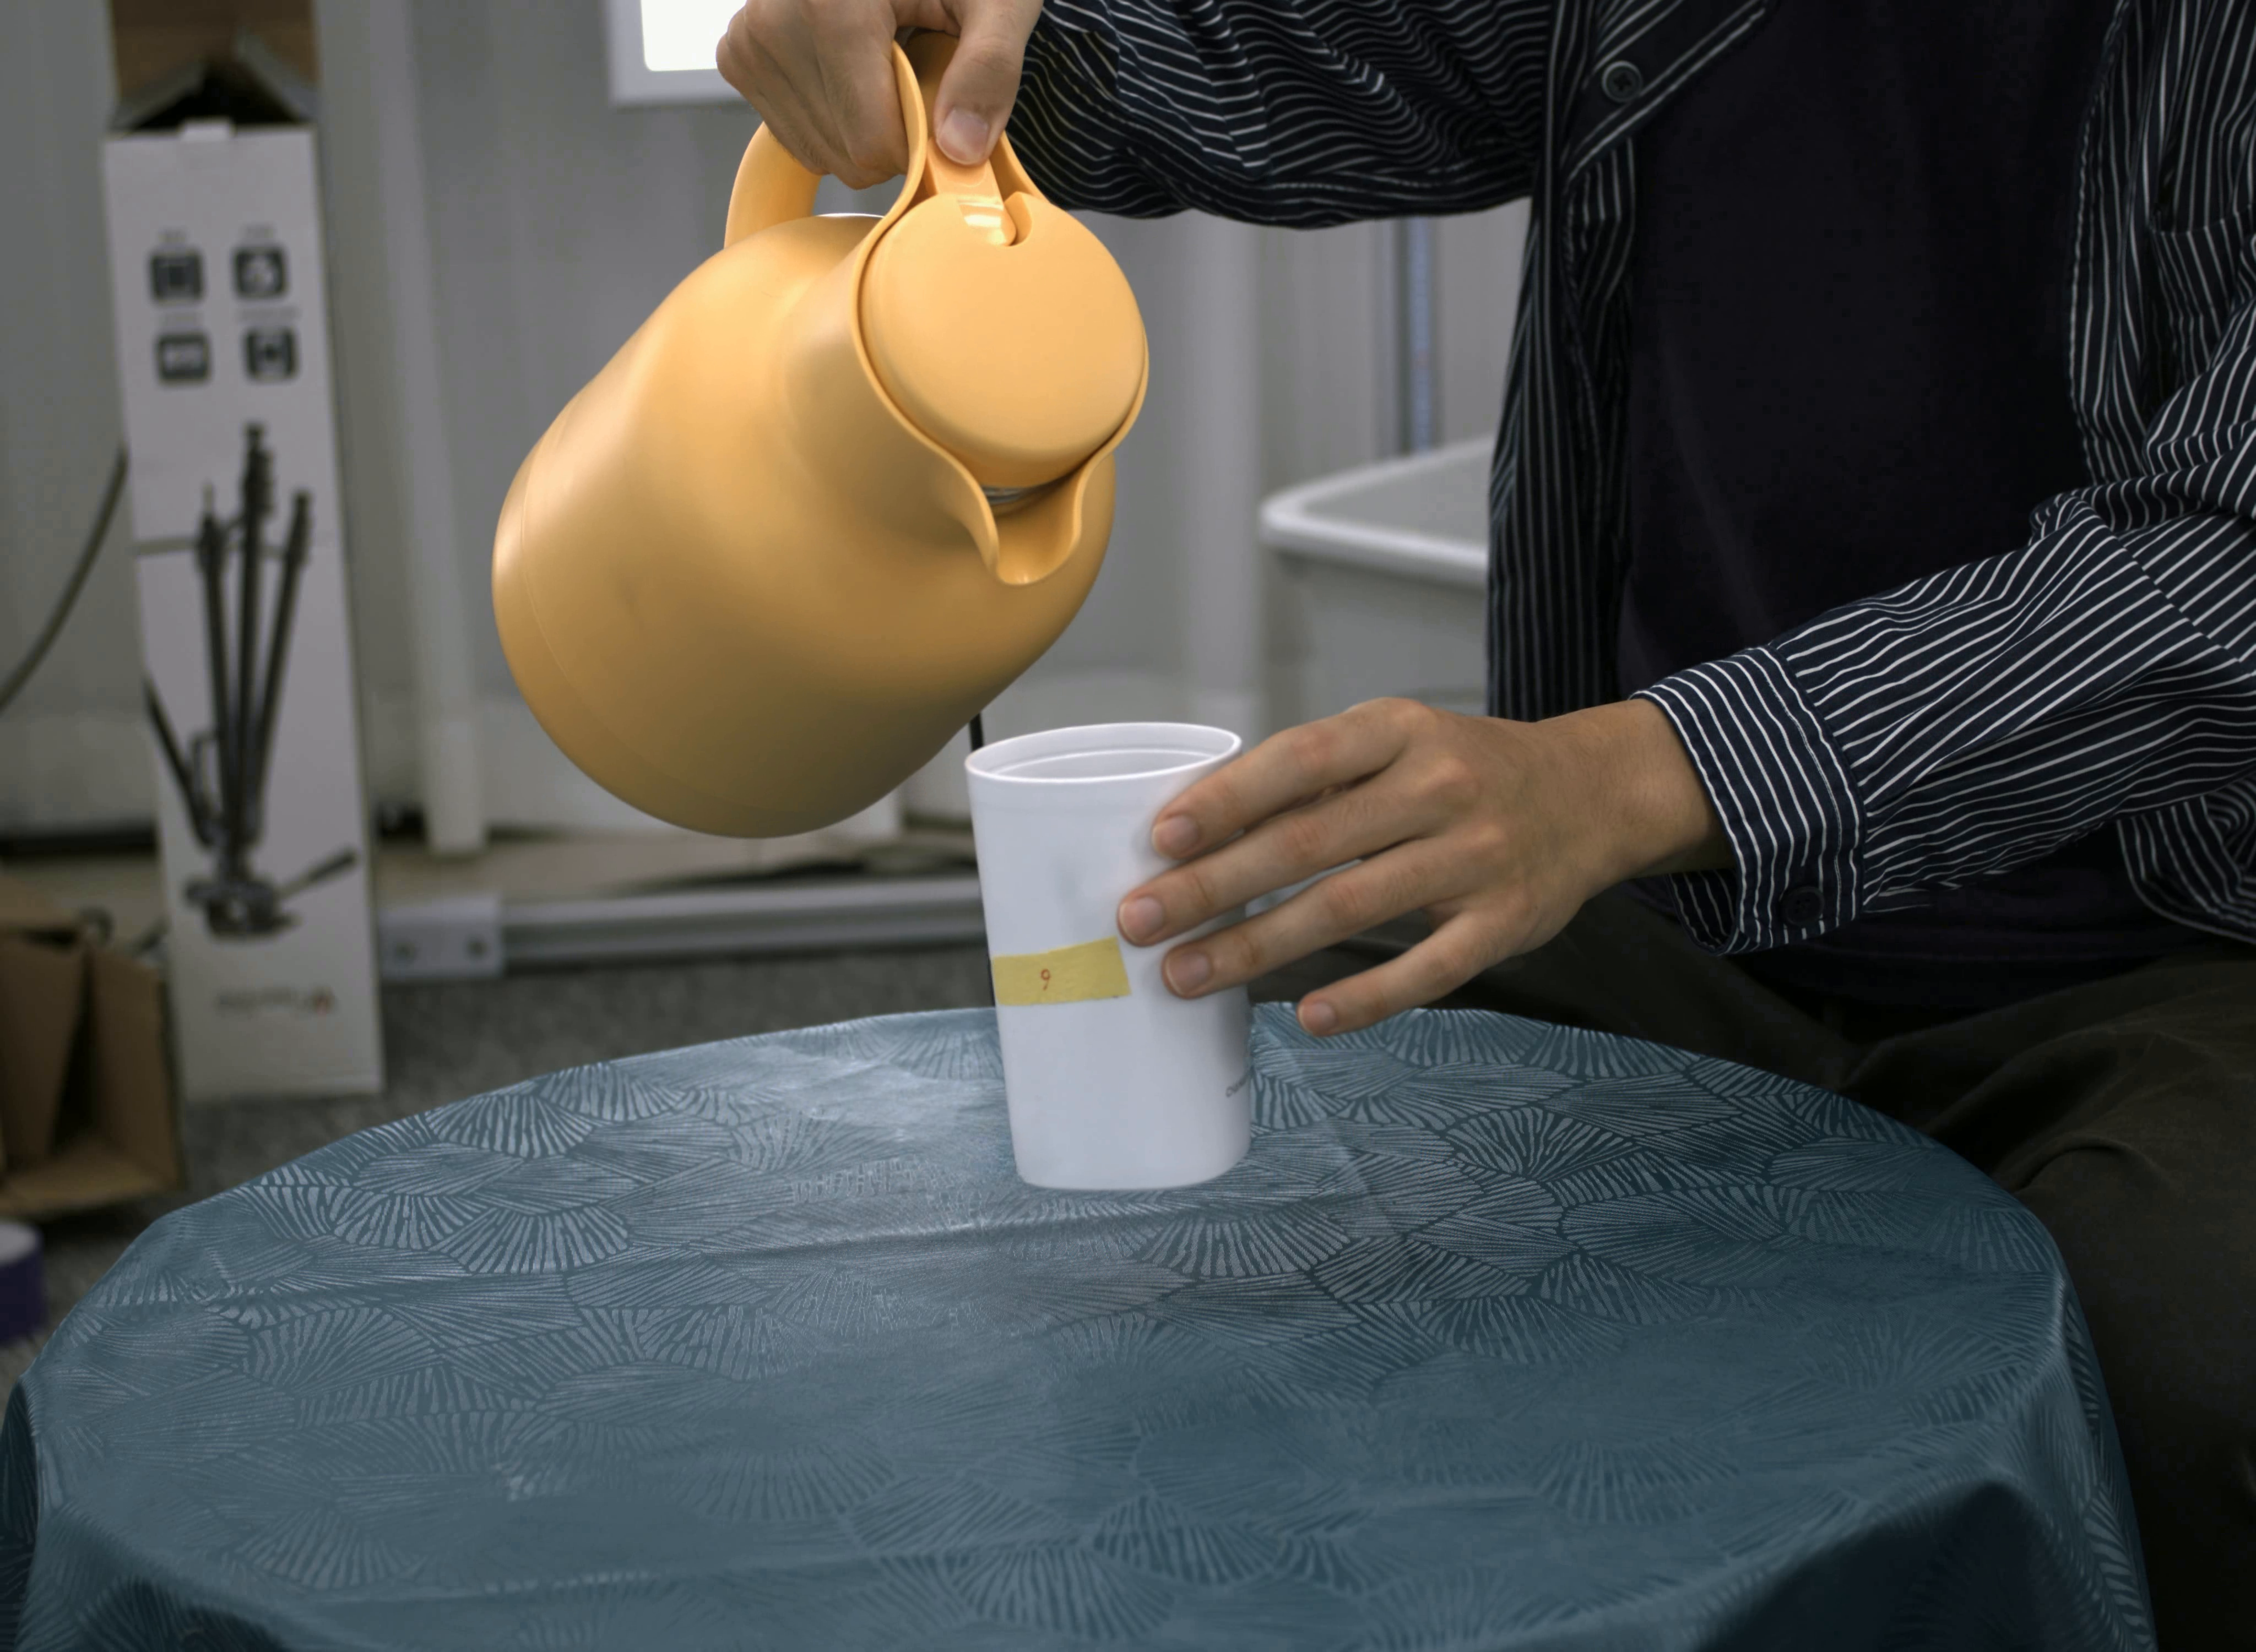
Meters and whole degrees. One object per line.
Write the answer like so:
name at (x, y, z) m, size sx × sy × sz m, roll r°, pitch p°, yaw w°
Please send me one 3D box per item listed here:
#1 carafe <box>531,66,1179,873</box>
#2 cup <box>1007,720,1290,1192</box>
carafe at (-0.079, -0.114, 1.712) m, size 0.162 × 0.204 × 0.259 m, roll -2°, pitch -19°, yaw -28°
cup at (0.009, 0.038, 1.592) m, size 0.081 × 0.125 × 0.082 m, roll -4°, pitch 10°, yaw 0°
